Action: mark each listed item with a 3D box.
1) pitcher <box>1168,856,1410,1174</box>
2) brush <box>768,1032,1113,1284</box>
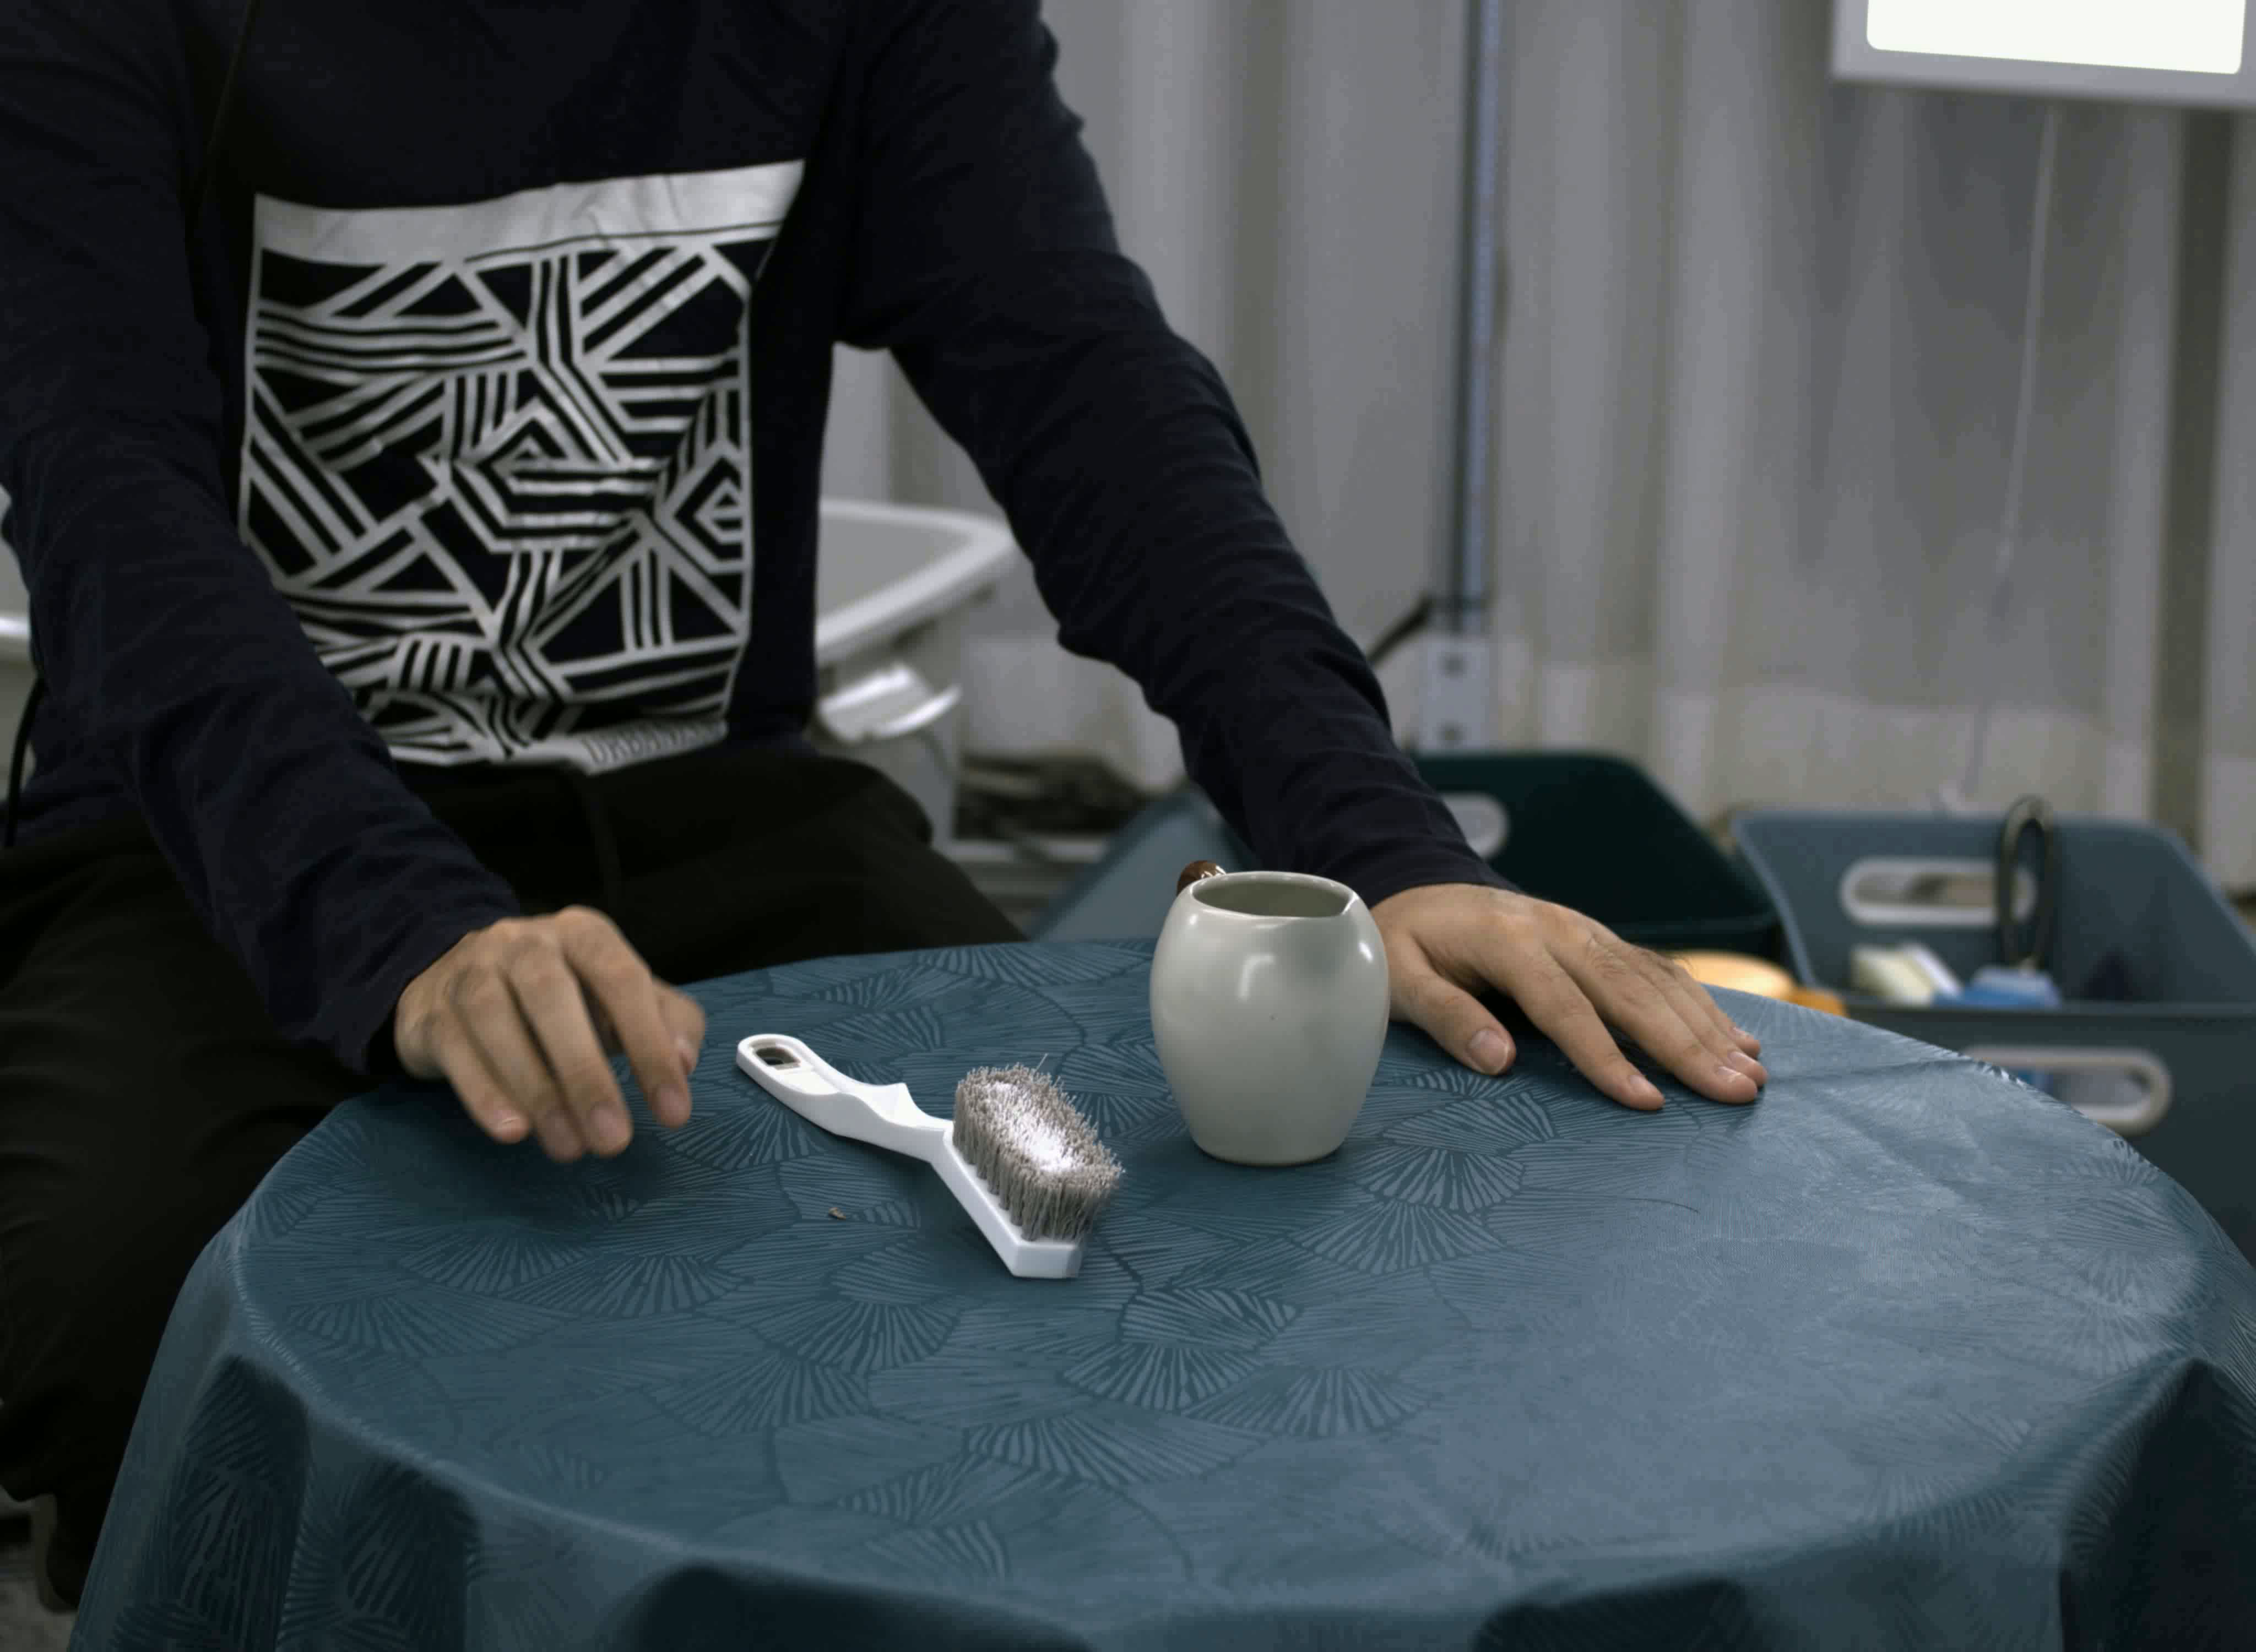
[{"bbox_3d":[0.047,0.058,1.655,0.076,0.088,0.118,-1,18,-22],"label":"pitcher"},{"bbox_3d":[-0.064,0.083,1.639,0.034,0.050,0.241,-11,19,-21],"label":"brush"}]
